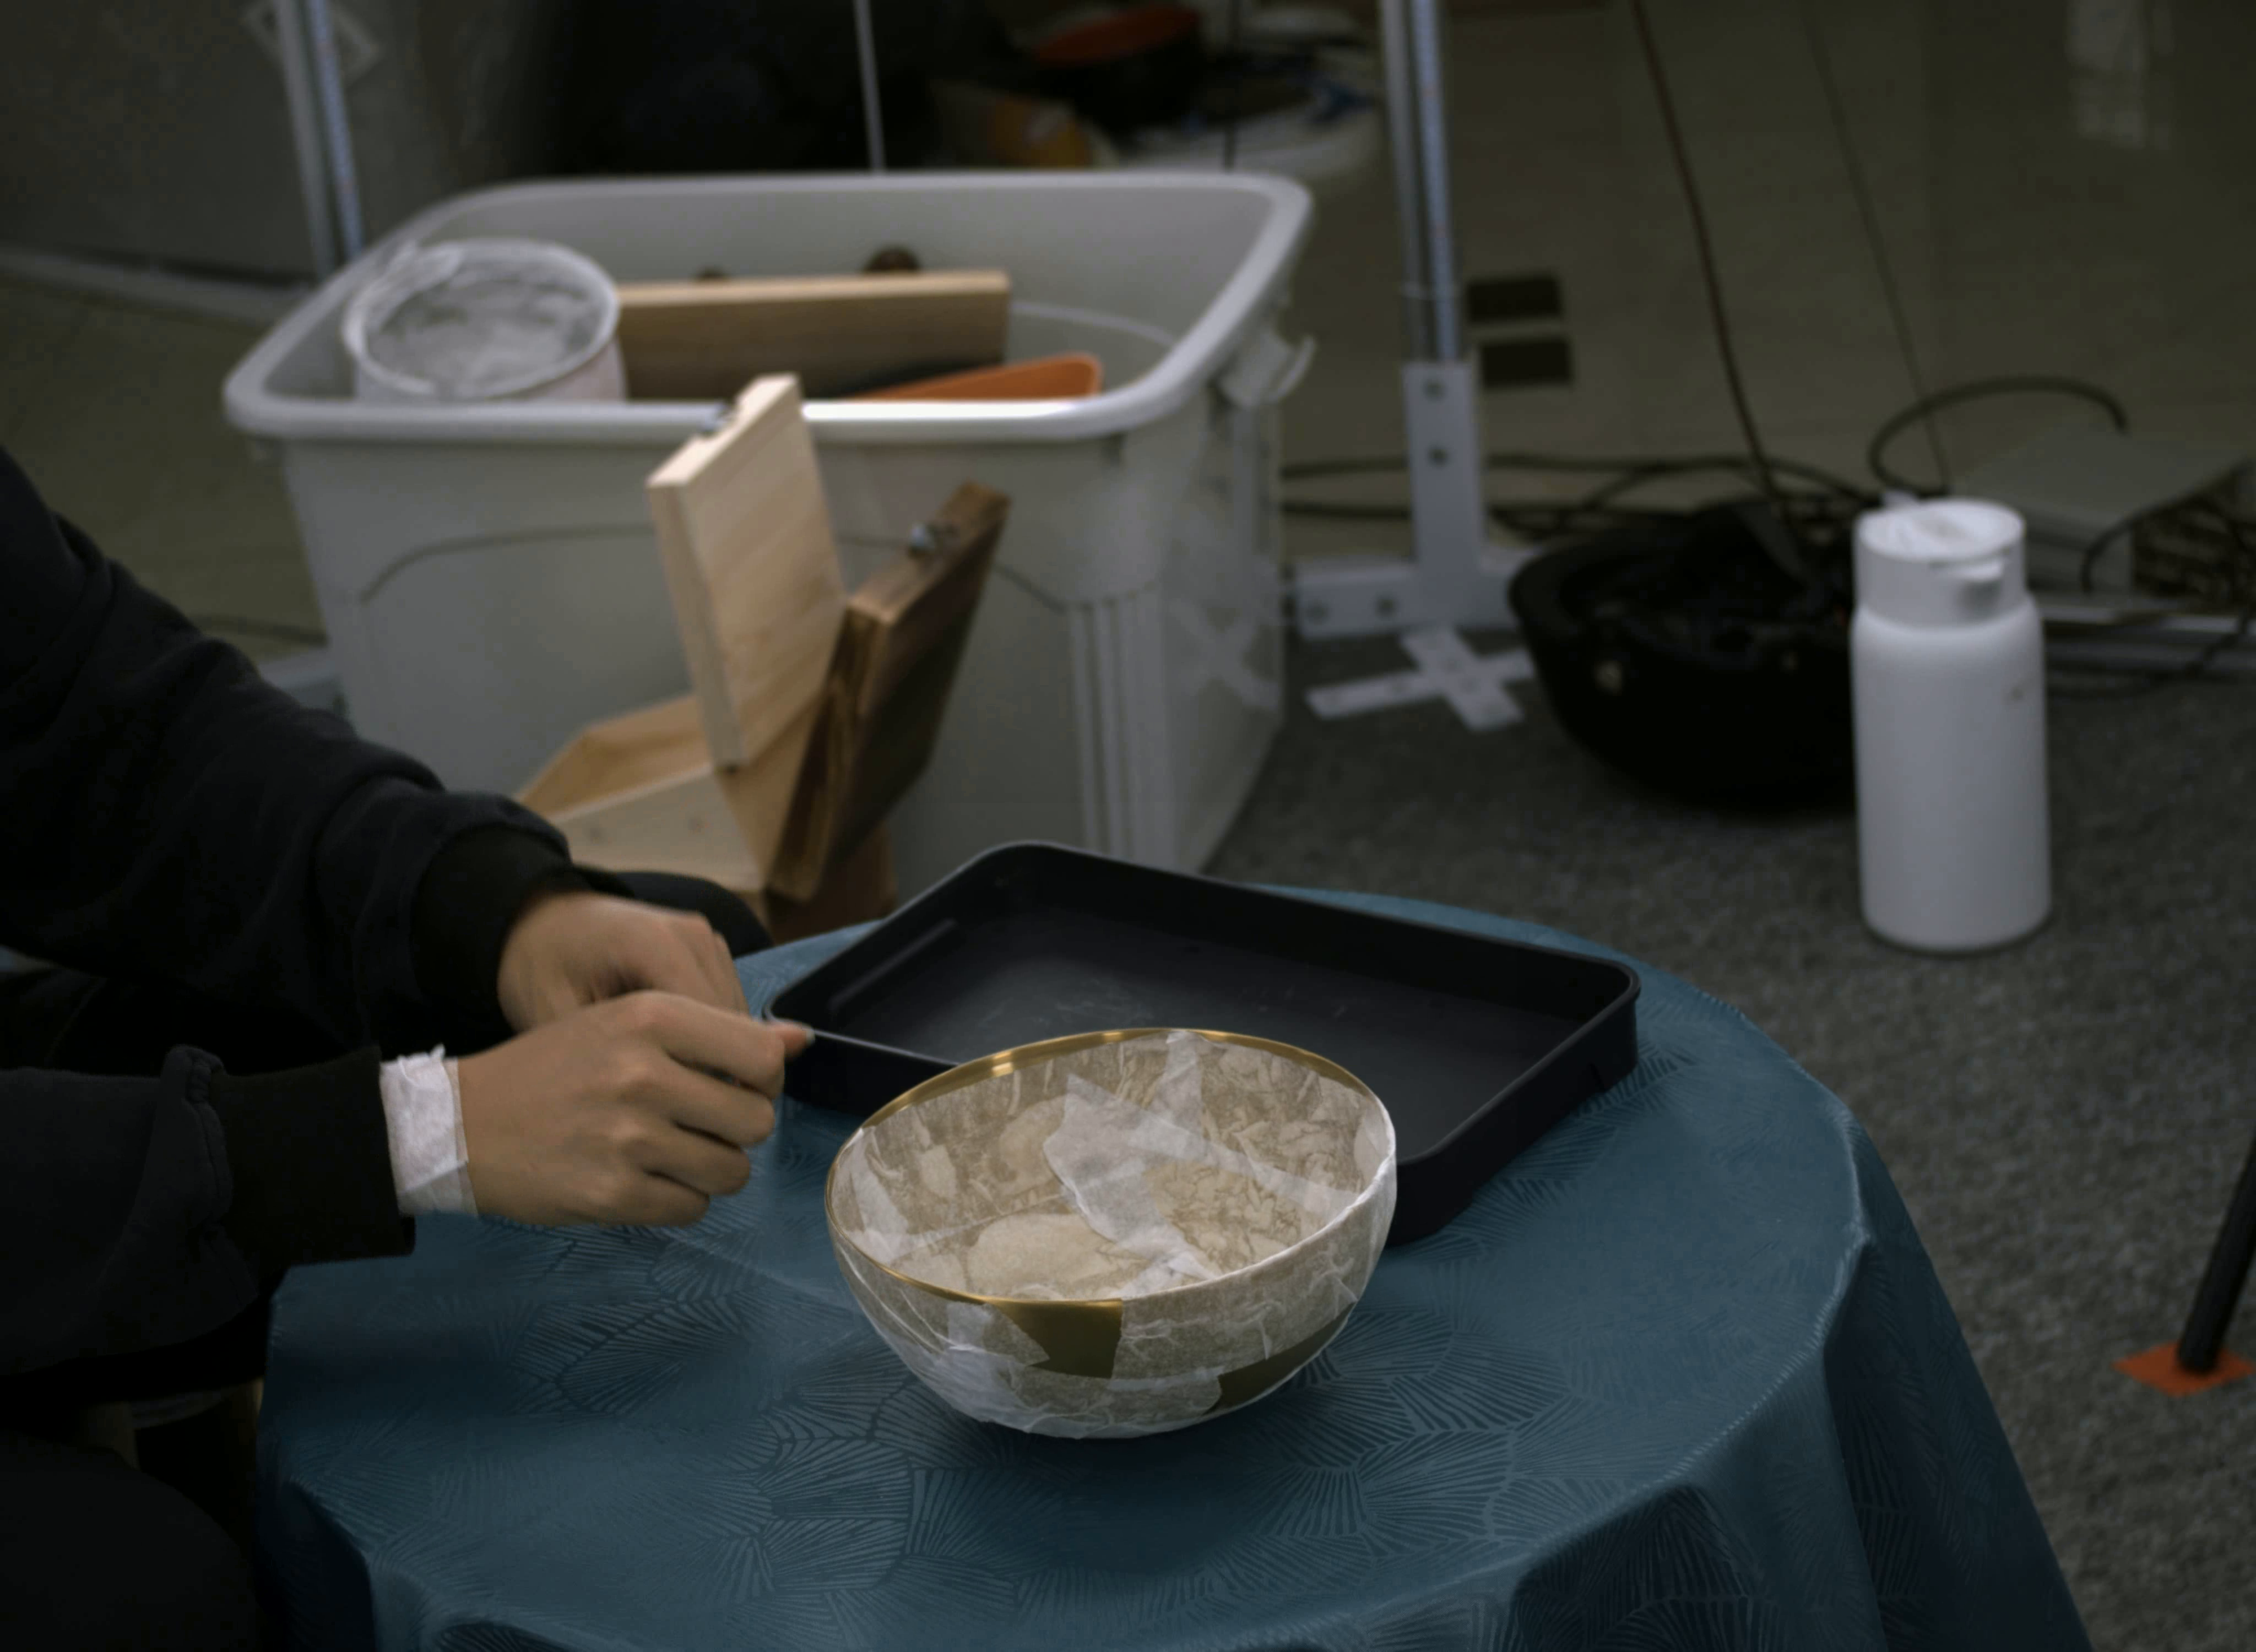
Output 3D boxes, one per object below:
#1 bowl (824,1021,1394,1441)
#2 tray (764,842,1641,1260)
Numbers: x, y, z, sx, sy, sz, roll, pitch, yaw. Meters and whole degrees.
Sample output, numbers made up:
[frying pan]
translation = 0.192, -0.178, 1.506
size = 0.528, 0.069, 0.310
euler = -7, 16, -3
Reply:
[bowl]
translation = -0.004, 0.155, 2.008
size = 0.214, 0.096, 0.211
euler = -6, 26, 3
[tray]
translation = 0.028, 0.084, 2.228
size = 0.316, 0.037, 0.182
euler = 14, 31, 35
